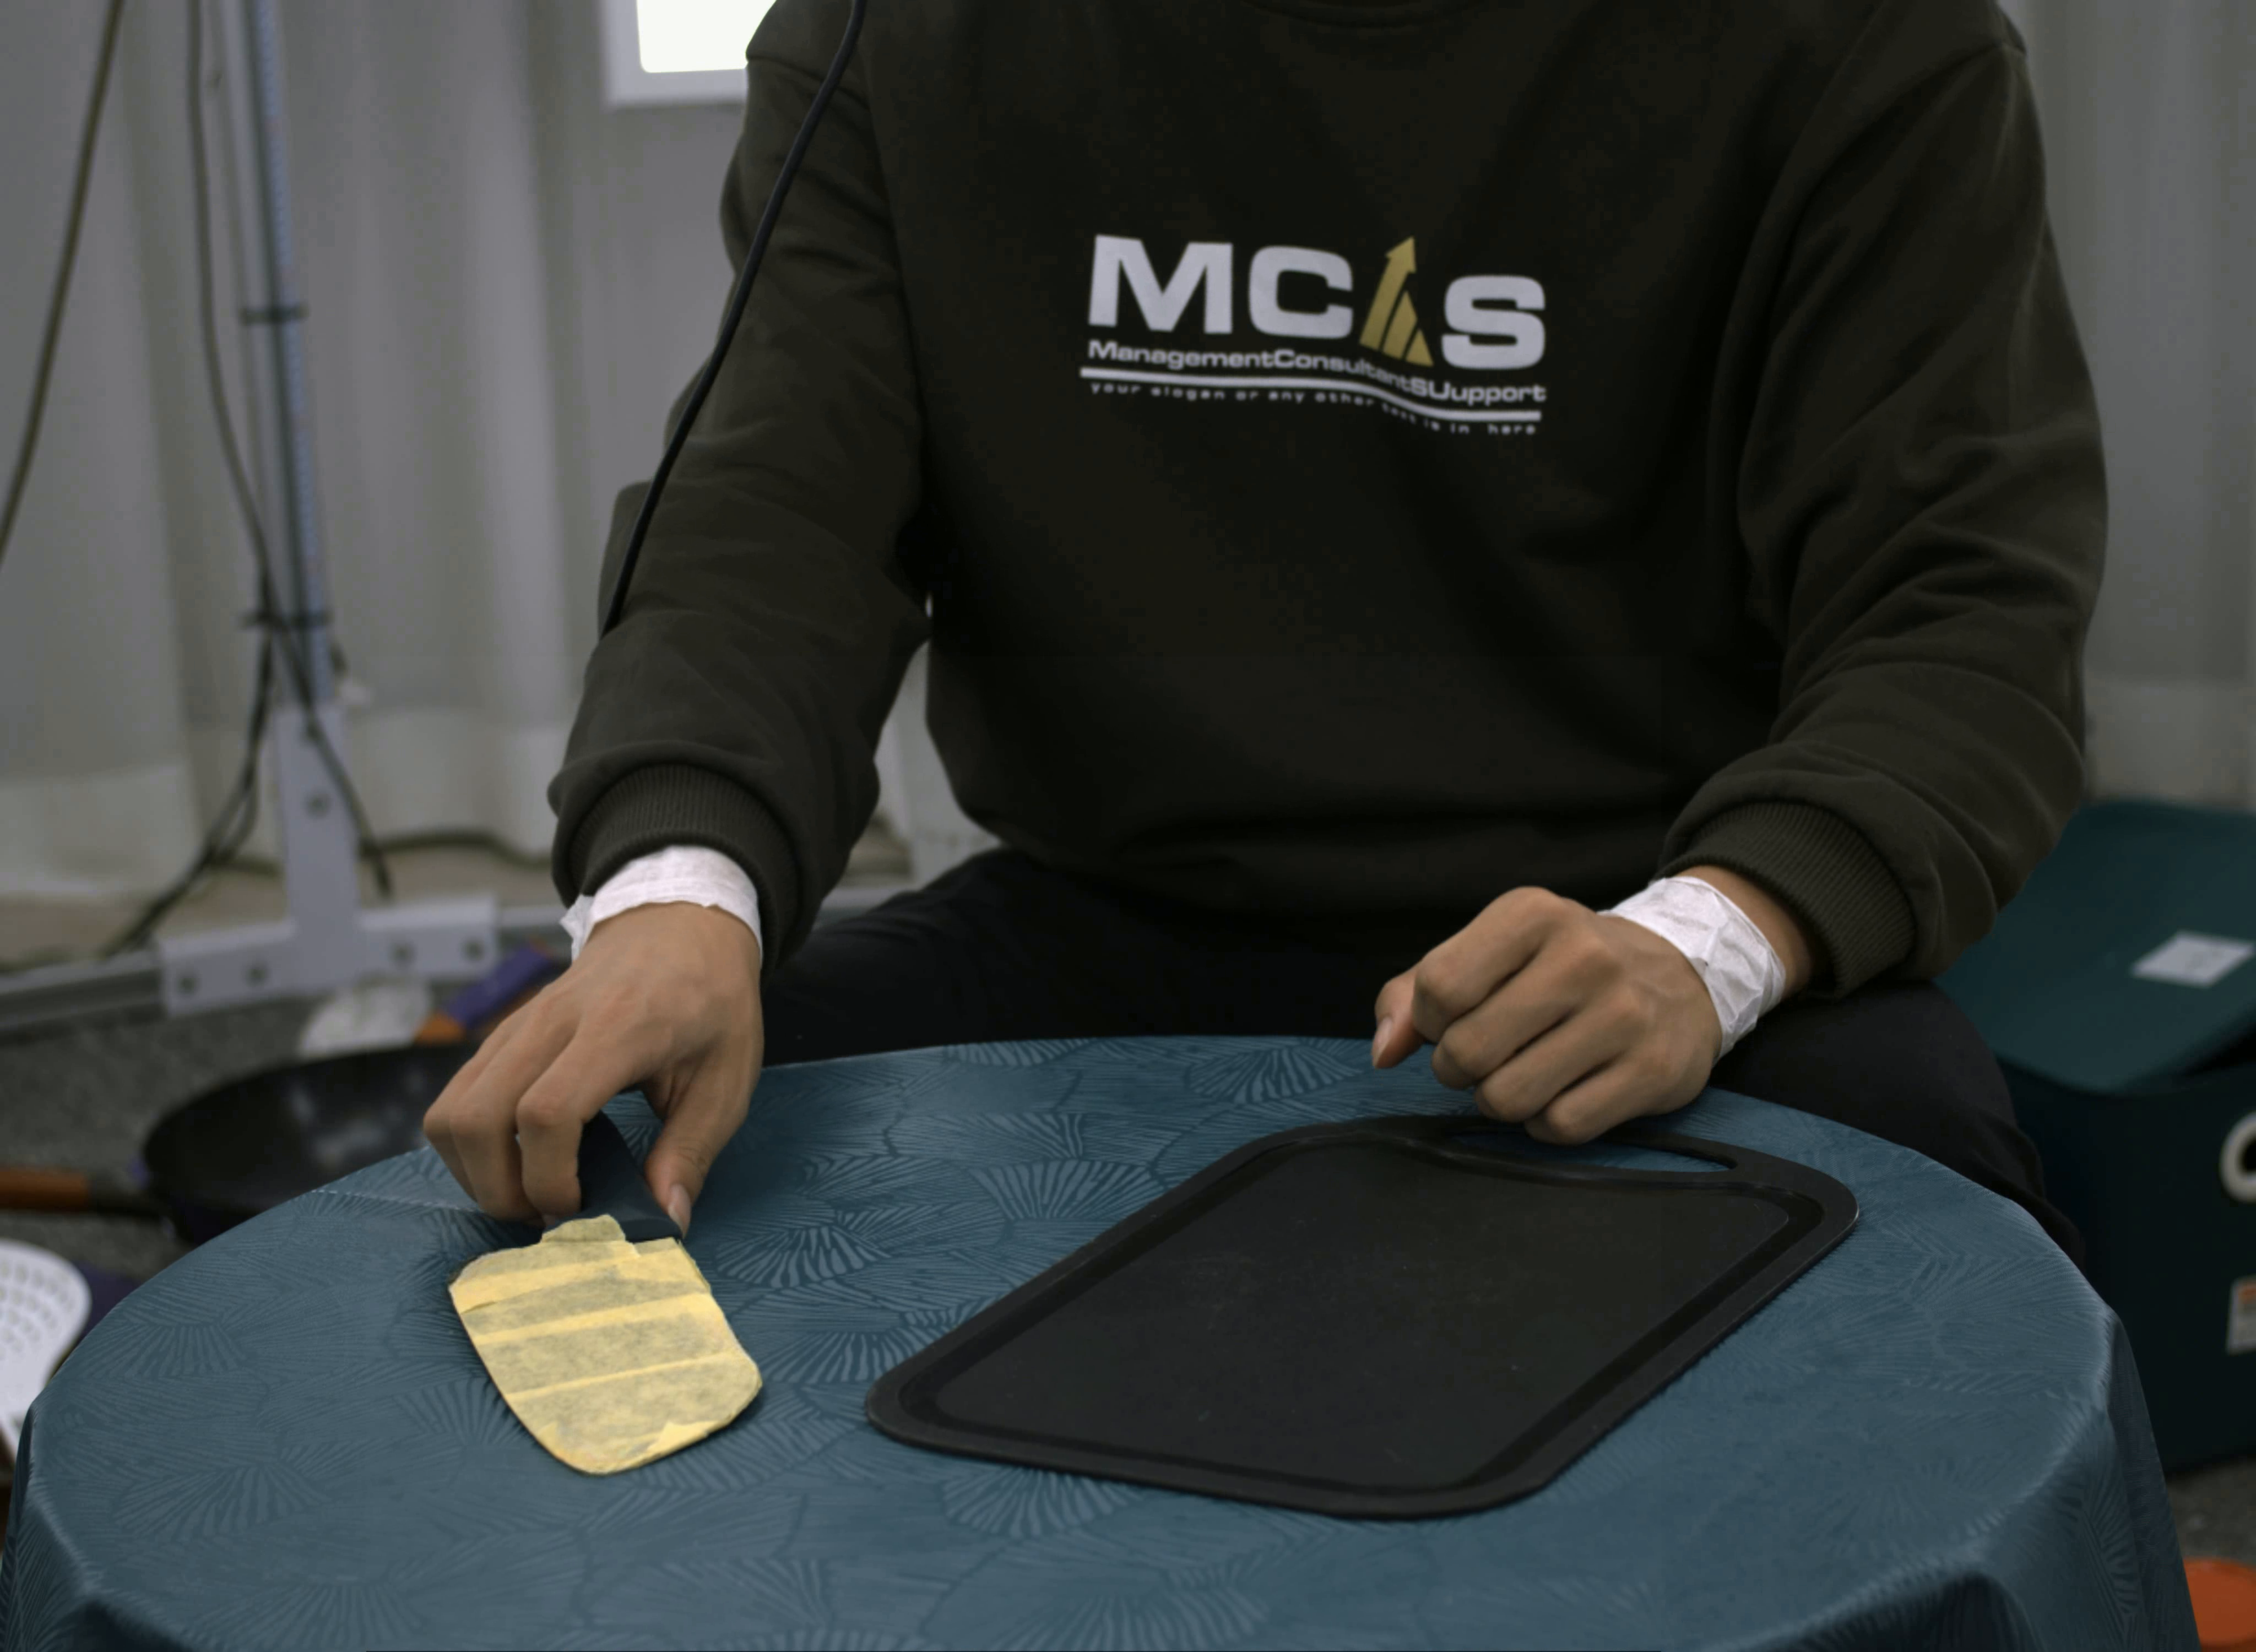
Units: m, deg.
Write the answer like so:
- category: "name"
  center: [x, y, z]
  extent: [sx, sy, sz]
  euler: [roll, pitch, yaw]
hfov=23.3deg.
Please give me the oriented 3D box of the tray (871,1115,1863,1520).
- category: "tray"
  center: [0.079, 0.135, 1.610]
  extent: [0.211, 0.010, 0.326]
  euler: [6, 17, 29]

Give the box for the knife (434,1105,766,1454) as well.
- category: "knife"
  center: [-0.166, 0.136, 1.641]
  extent: [0.080, 0.027, 0.292]
  euler: [-5, 16, -13]
